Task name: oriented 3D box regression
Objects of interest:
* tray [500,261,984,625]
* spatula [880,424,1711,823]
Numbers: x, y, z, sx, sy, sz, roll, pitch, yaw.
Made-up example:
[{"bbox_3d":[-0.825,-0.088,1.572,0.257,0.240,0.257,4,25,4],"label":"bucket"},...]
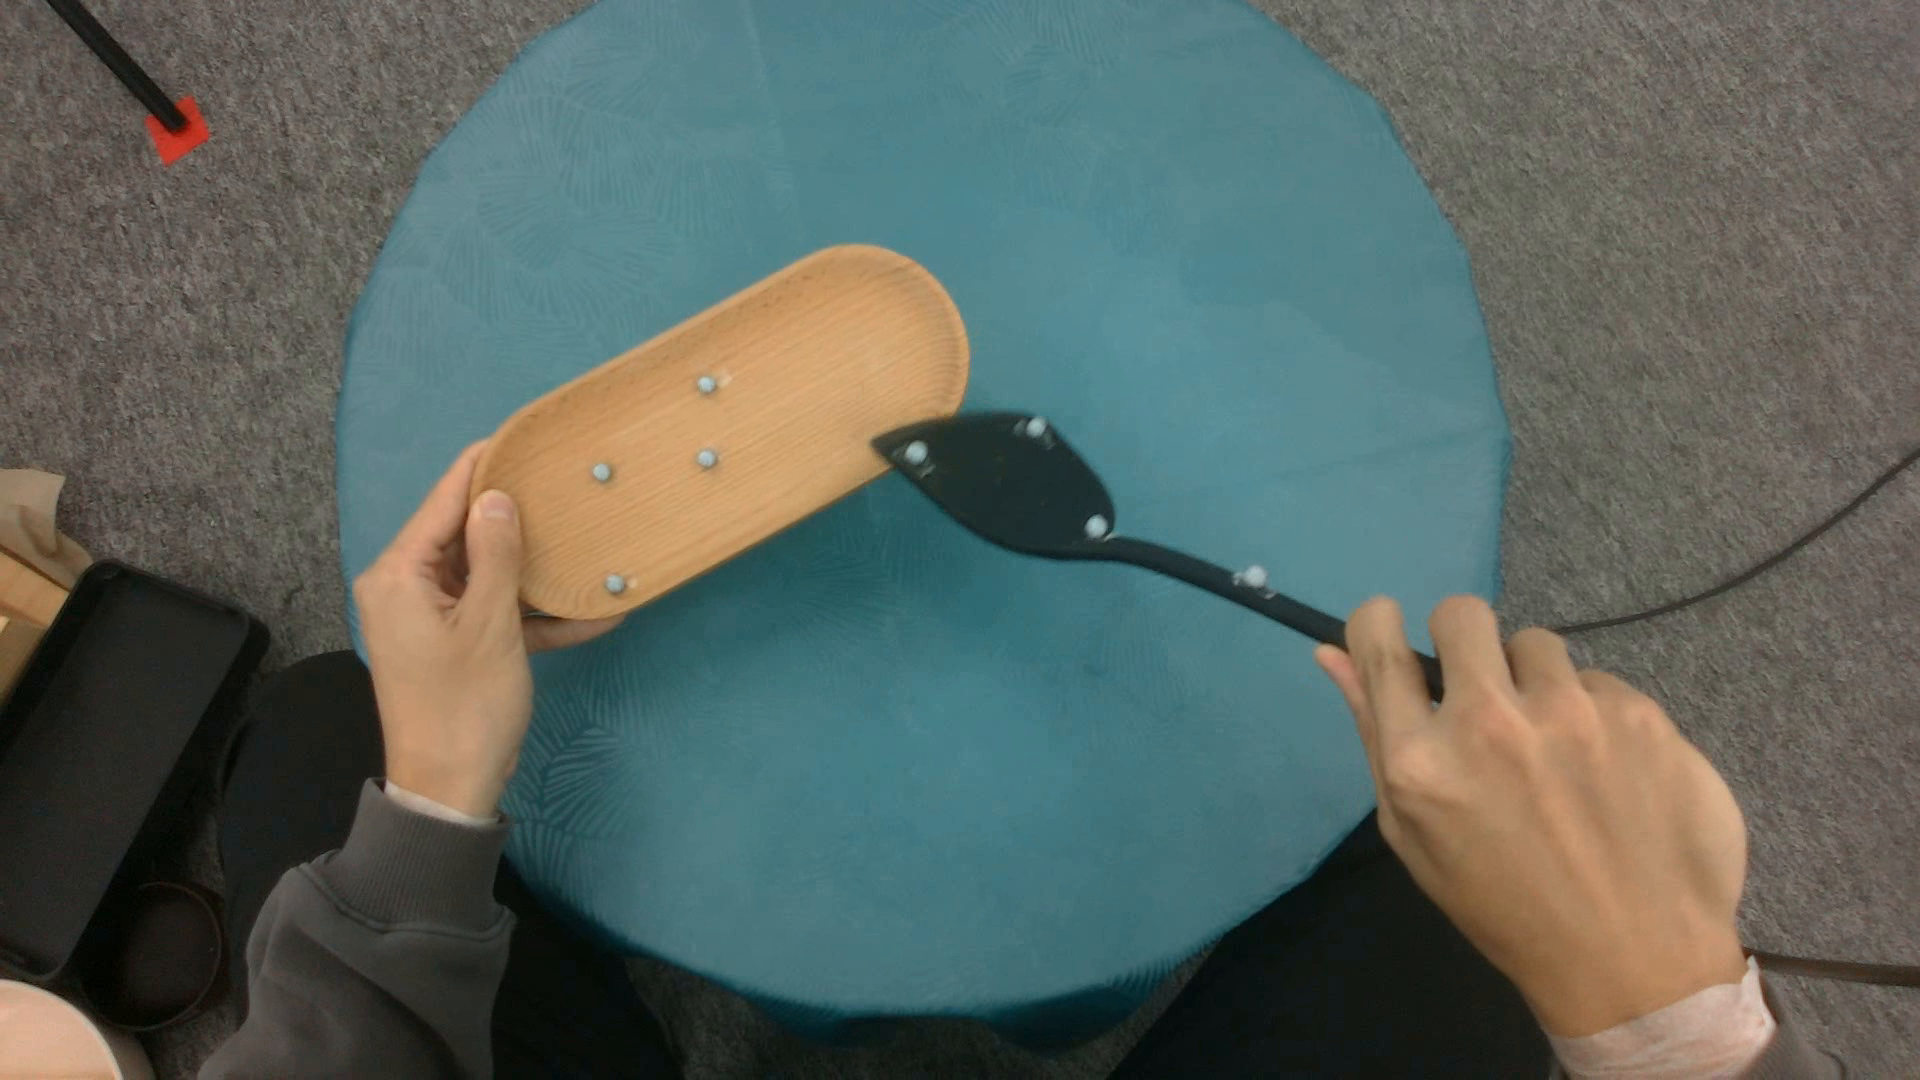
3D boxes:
[{"bbox_3d":[-0.097,-0.044,0.620,0.231,0.020,0.102,-29,84,-4],"label":"tray"},{"bbox_3d":[0.108,0.020,0.507,0.326,0.040,0.100,23,29,40],"label":"spatula"}]
